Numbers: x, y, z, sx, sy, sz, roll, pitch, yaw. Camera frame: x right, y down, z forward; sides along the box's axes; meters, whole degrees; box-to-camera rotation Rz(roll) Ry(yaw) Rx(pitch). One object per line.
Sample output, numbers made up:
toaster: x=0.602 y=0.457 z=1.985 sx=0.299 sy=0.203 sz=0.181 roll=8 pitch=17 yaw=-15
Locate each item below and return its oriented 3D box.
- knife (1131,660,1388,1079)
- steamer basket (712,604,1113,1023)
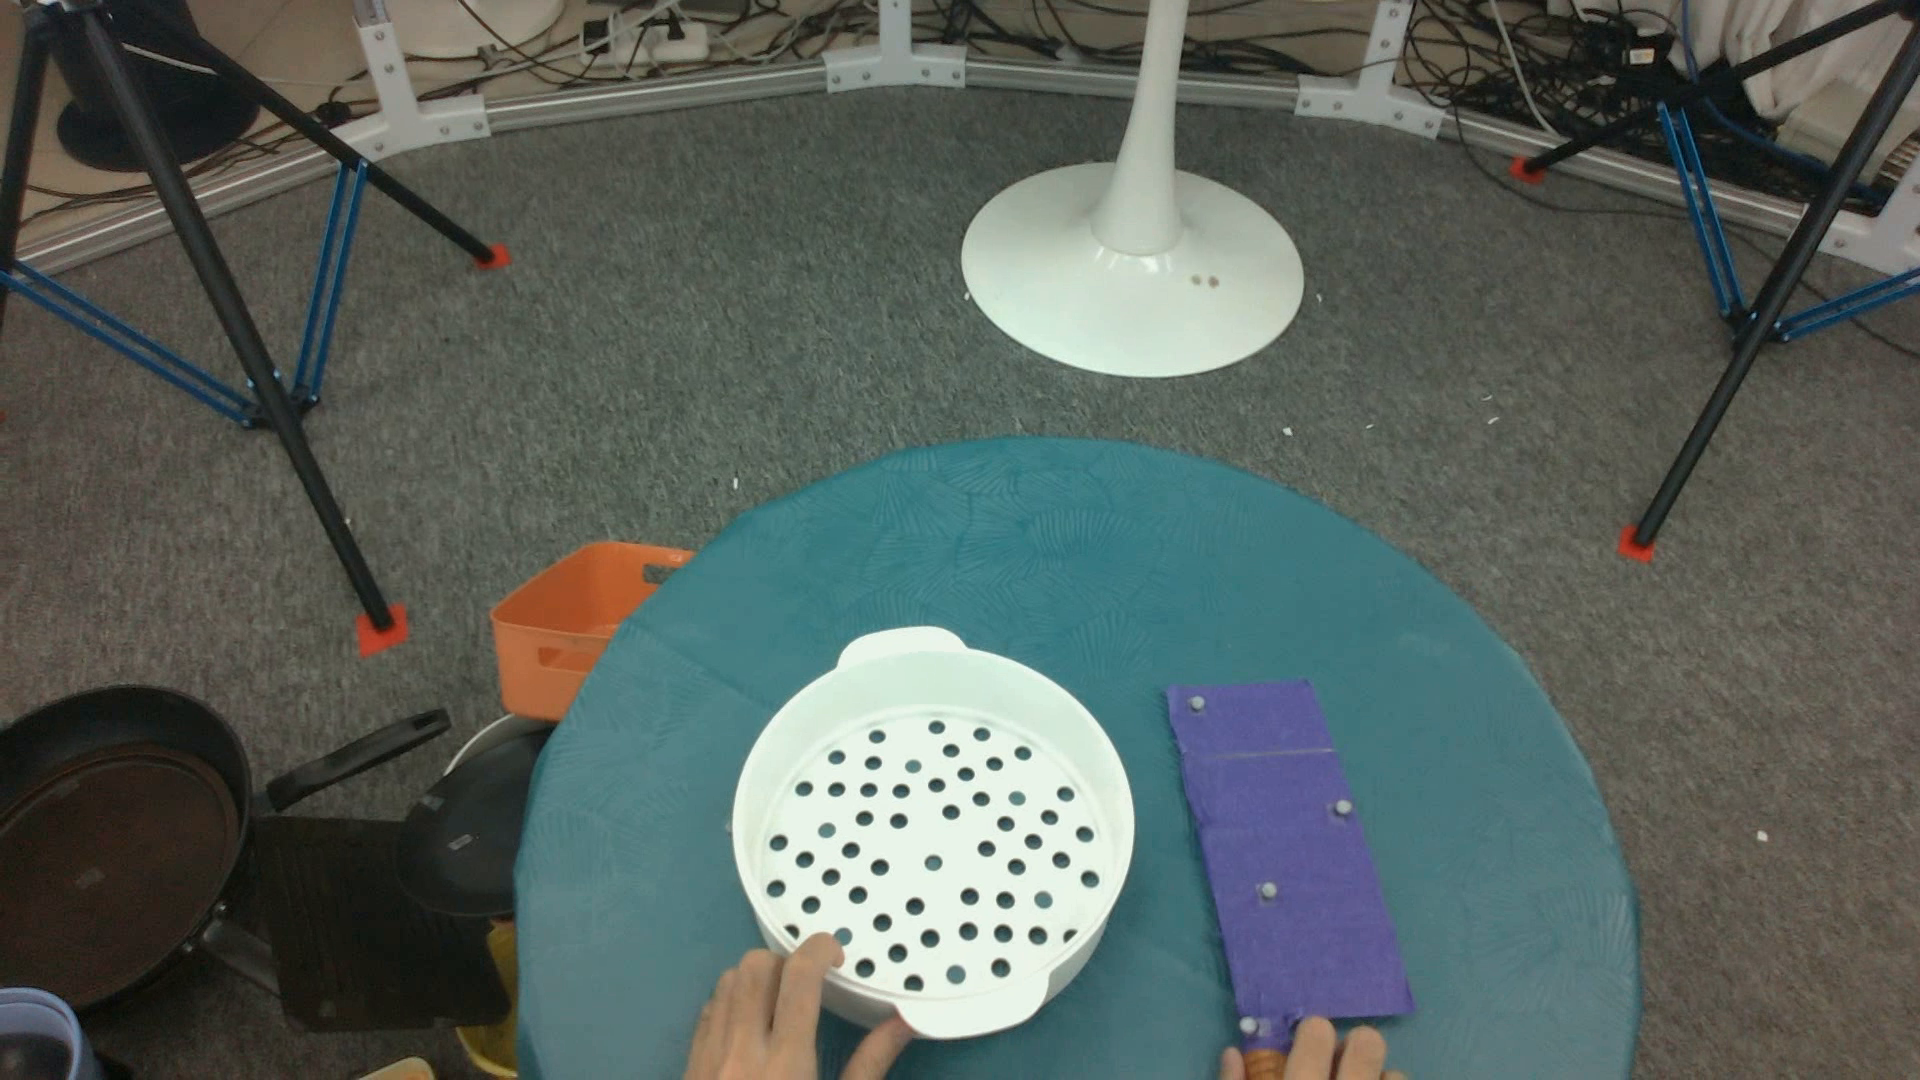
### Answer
knife: x=0.166 y=0.189 z=0.716 sx=0.104 sy=0.032 sz=0.316 roll=-2 pitch=49 yaw=-6
steamer basket: x=-0.024 y=0.144 z=0.717 sx=0.202 sy=0.069 sz=0.231 roll=-8 pitch=53 yaw=-8
